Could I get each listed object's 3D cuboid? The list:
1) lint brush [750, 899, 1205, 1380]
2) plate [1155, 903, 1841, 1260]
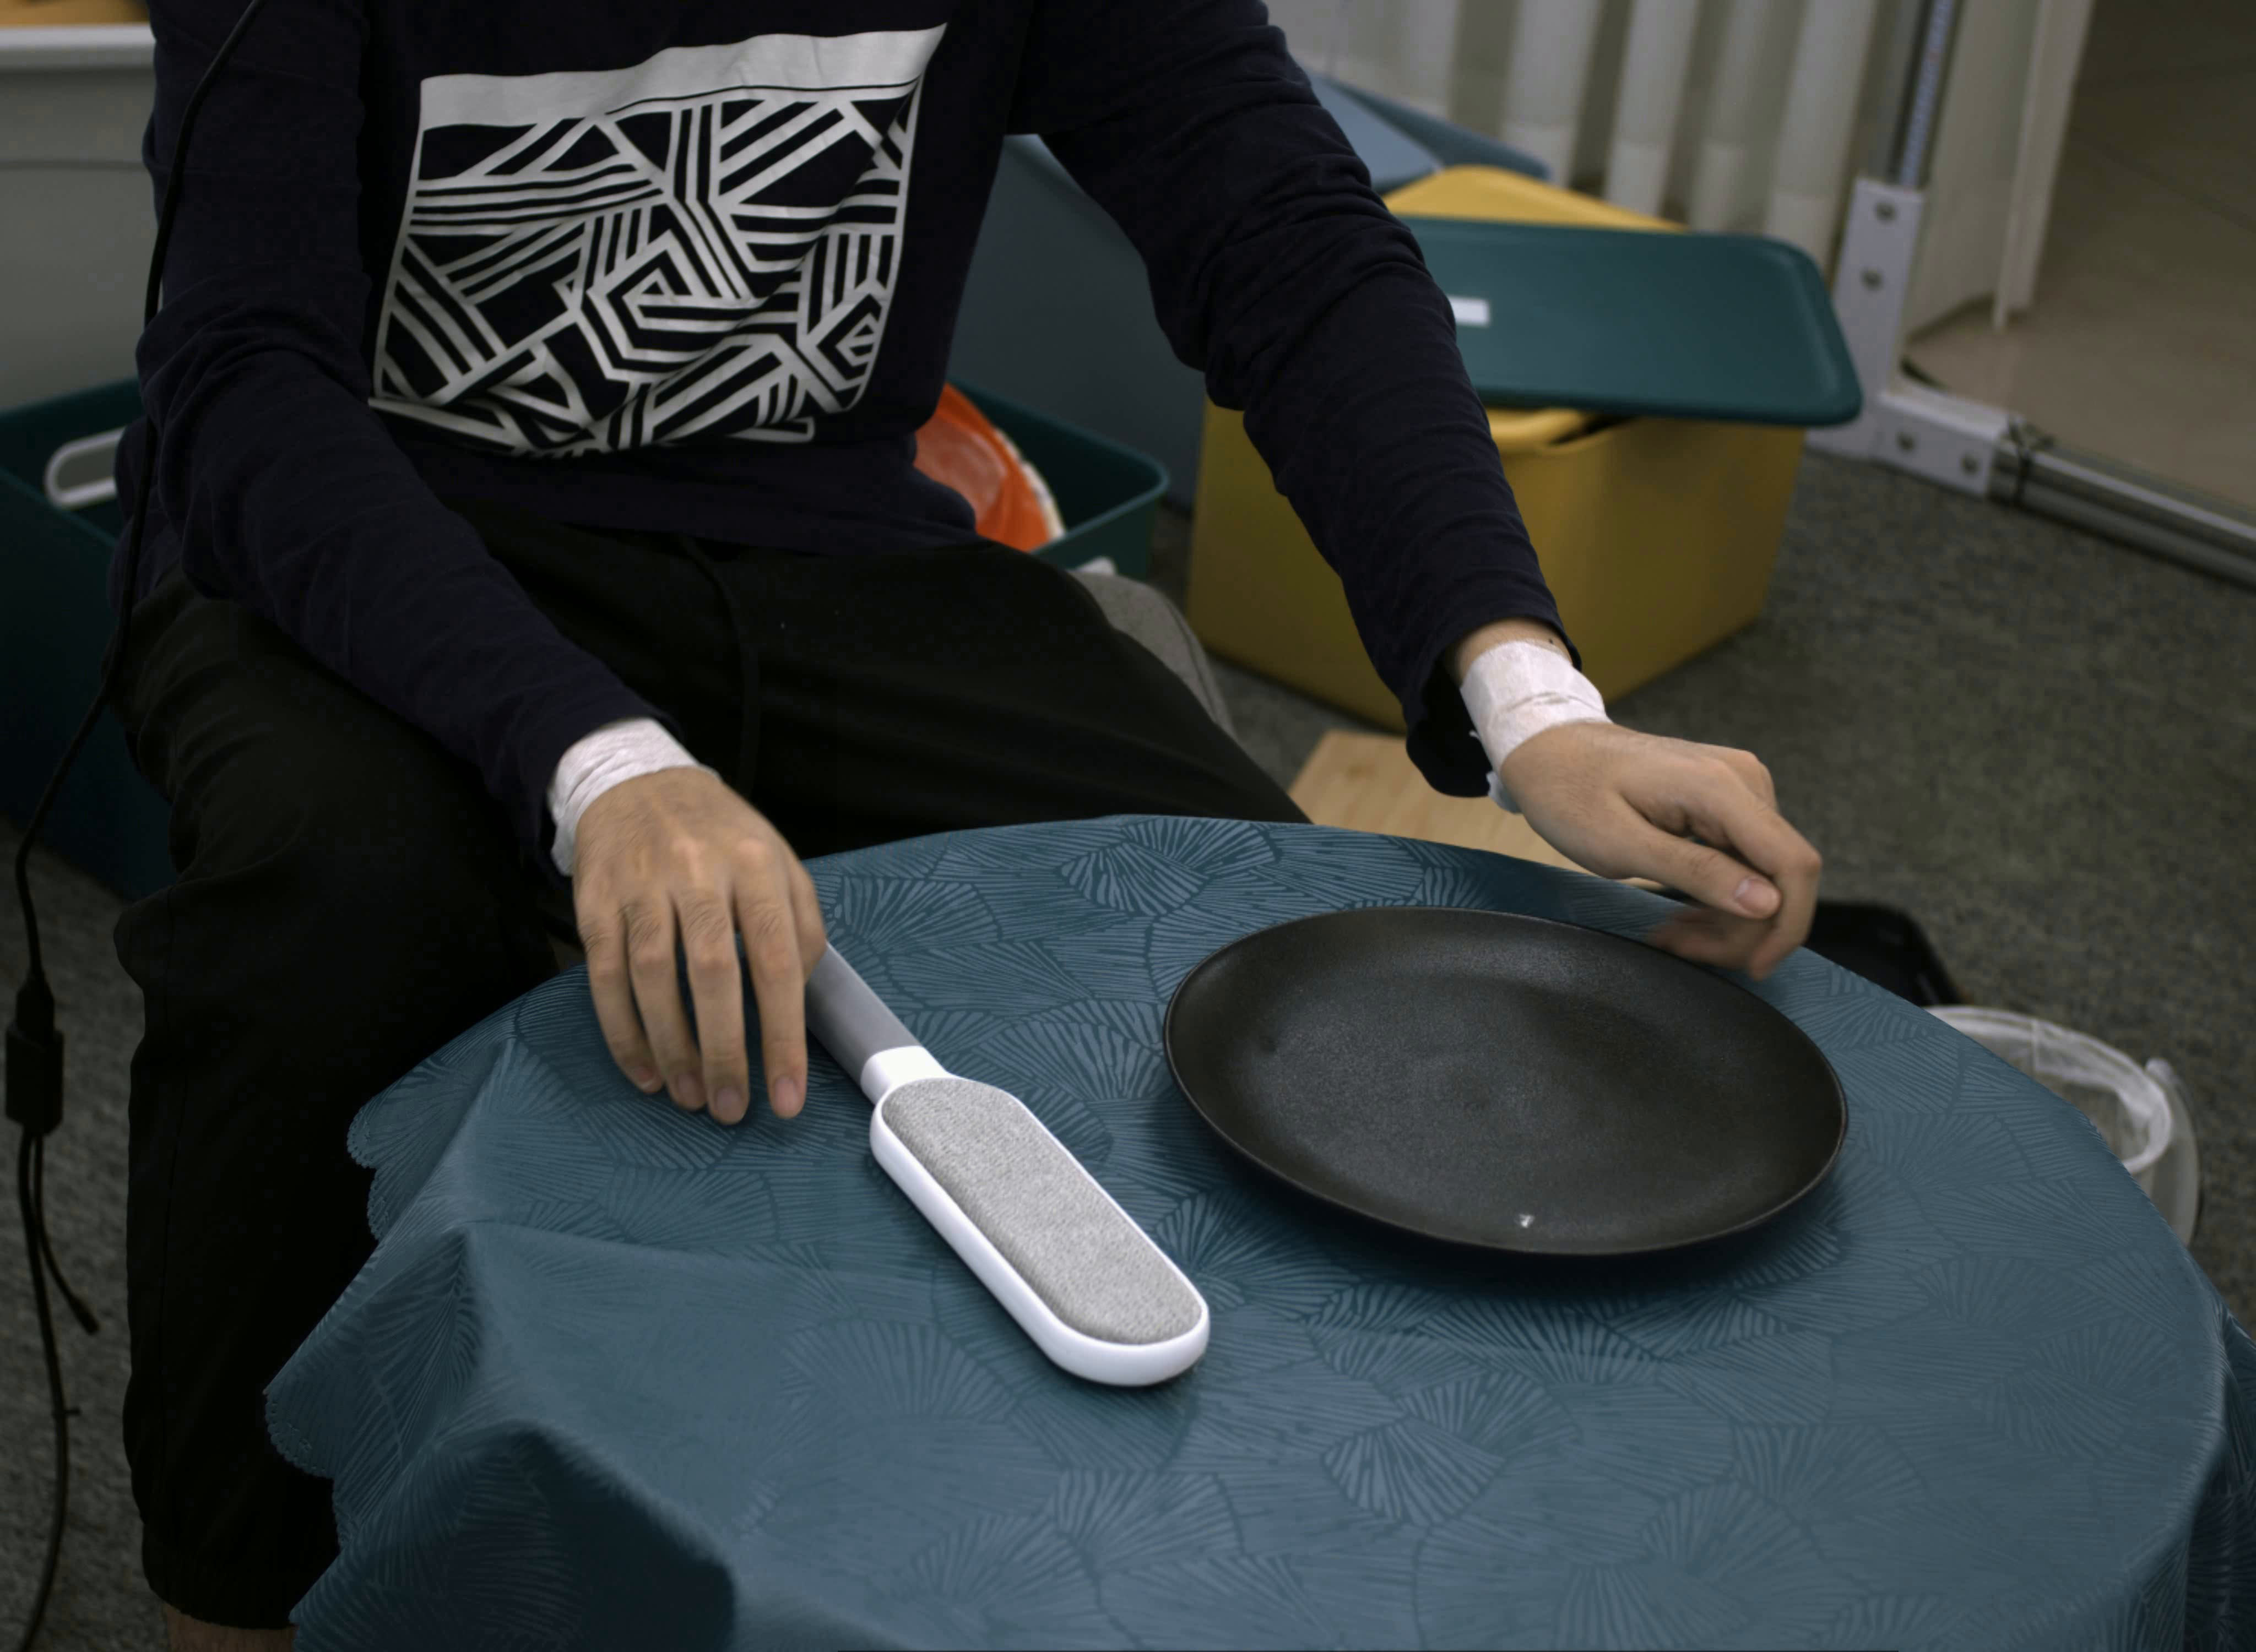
[{"bbox_3d":[-0.059,0.101,1.807,0.060,0.021,0.312,-13,32,-24],"label":"lint brush"},{"bbox_3d":[0.128,0.094,1.868,0.243,0.023,0.246,5,27,-3],"label":"plate"}]
